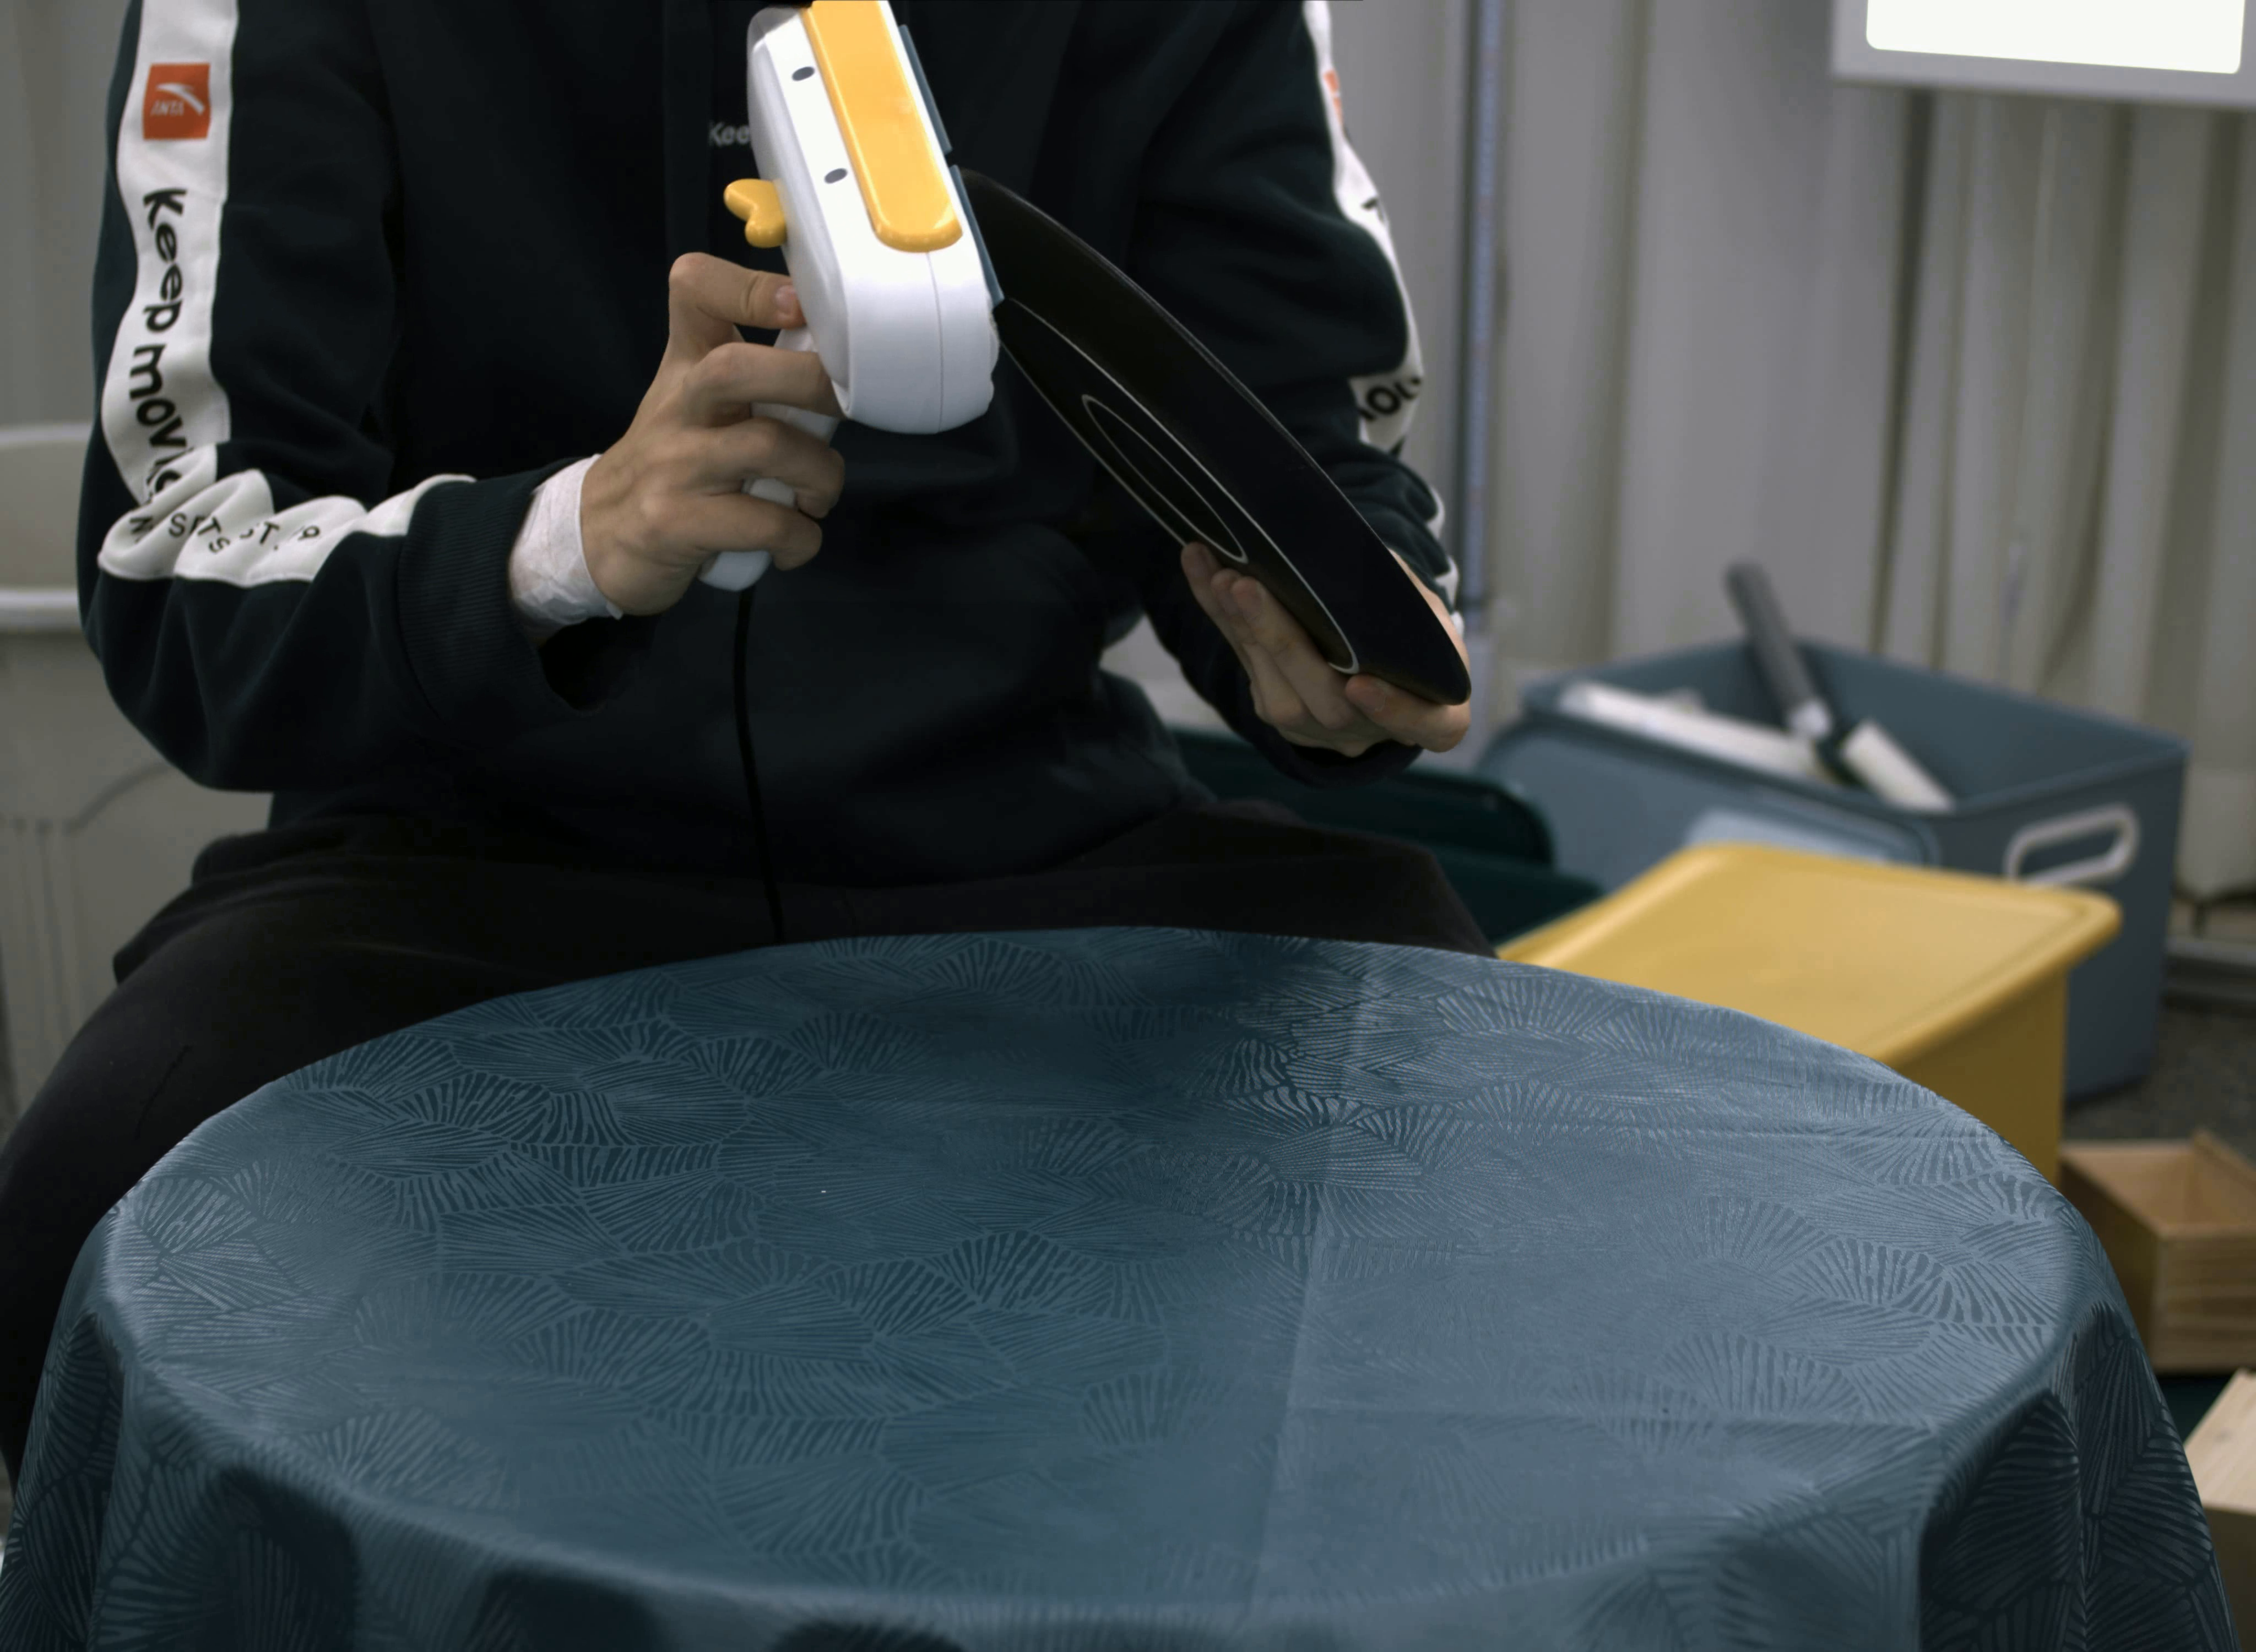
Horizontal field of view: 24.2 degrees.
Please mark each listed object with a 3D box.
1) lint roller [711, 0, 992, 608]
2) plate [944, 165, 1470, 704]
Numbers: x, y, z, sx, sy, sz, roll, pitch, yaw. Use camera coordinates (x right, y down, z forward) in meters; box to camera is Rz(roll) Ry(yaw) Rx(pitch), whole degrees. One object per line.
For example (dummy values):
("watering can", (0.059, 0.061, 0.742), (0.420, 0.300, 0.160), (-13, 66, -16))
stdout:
("lint roller", (-0.099, -0.157, 1.710), (0.074, 0.194, 0.190), (-6, 39, -19))
("plate", (0.019, -0.122, 1.732), (0.023, 0.247, 0.241), (-45, 26, -5))
